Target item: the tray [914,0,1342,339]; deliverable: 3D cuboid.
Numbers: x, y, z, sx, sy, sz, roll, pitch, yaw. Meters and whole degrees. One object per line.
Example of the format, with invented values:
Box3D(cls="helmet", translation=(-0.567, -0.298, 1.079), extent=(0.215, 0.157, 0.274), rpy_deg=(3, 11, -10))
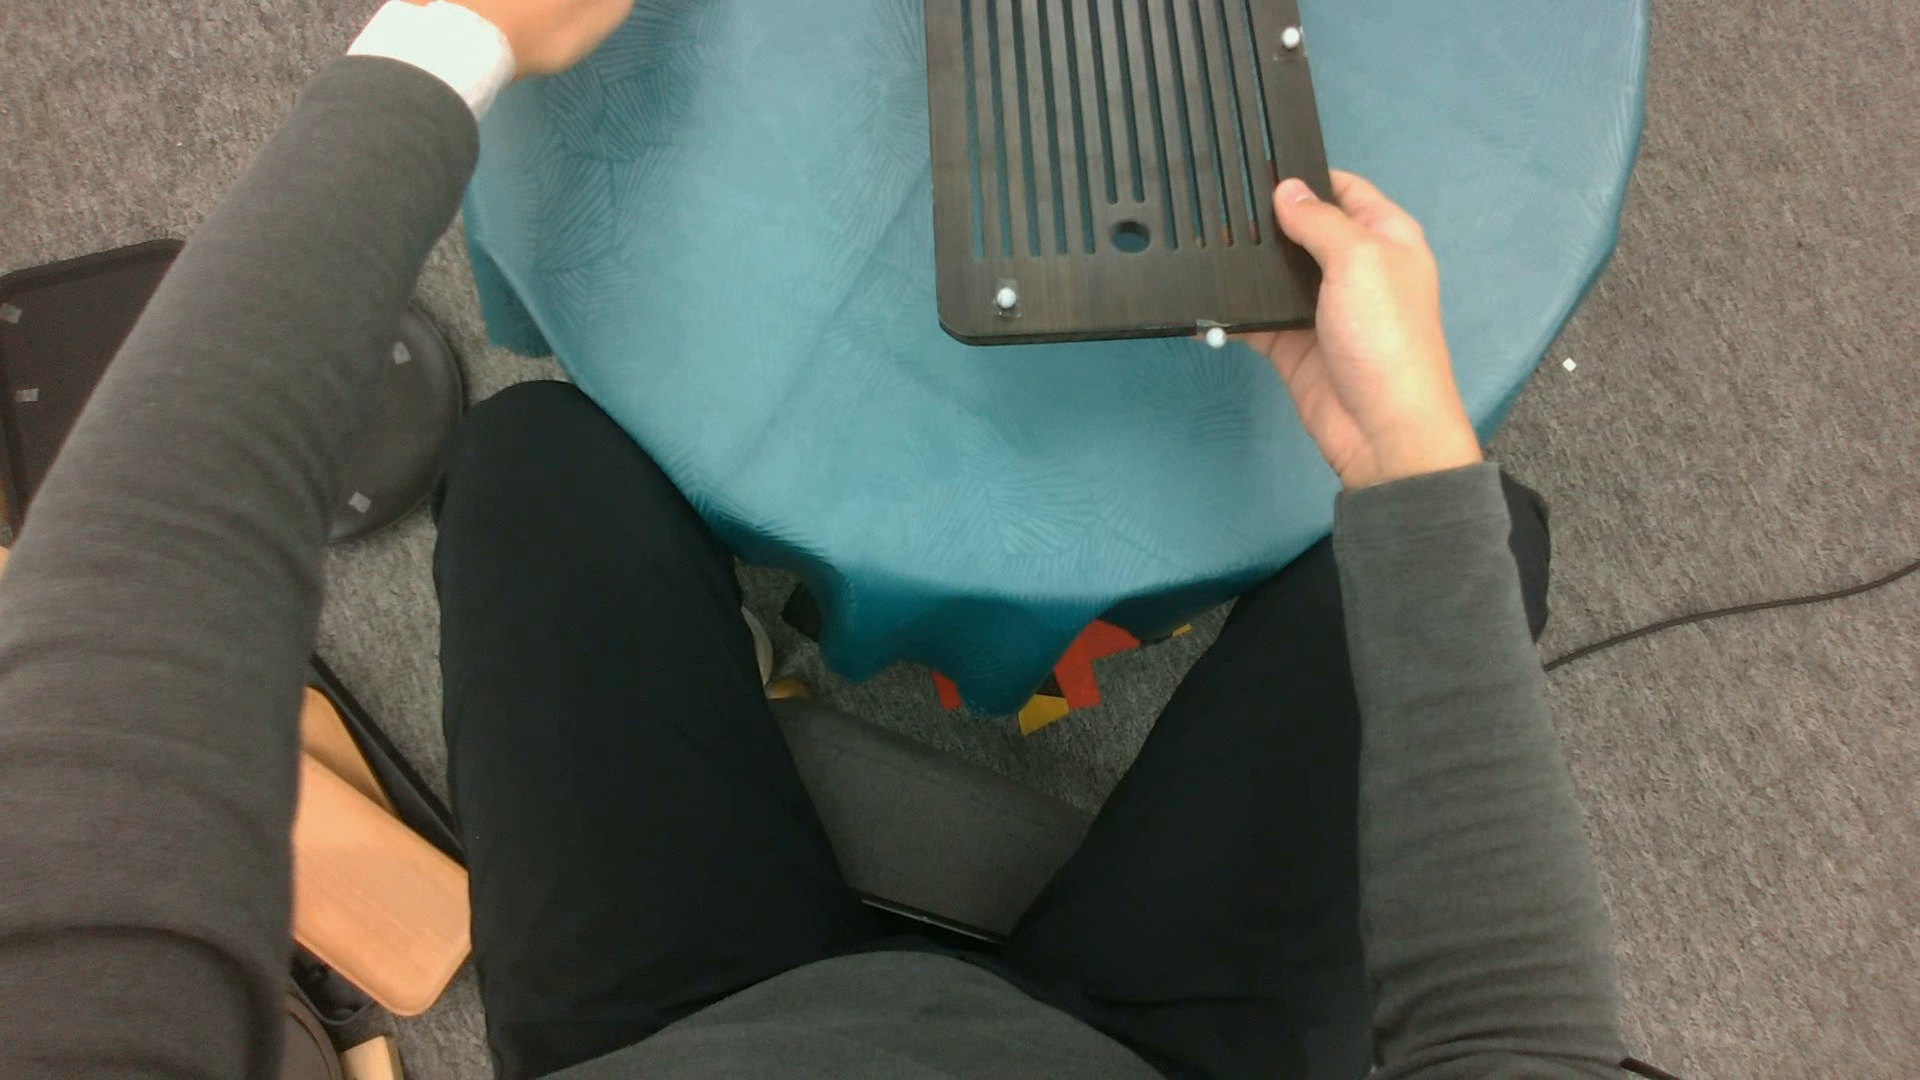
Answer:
Box3D(cls="tray", translation=(0.065, -0.224, 0.631), extent=(0.170, 0.018, 0.307), rpy_deg=(-3, 64, -1))
